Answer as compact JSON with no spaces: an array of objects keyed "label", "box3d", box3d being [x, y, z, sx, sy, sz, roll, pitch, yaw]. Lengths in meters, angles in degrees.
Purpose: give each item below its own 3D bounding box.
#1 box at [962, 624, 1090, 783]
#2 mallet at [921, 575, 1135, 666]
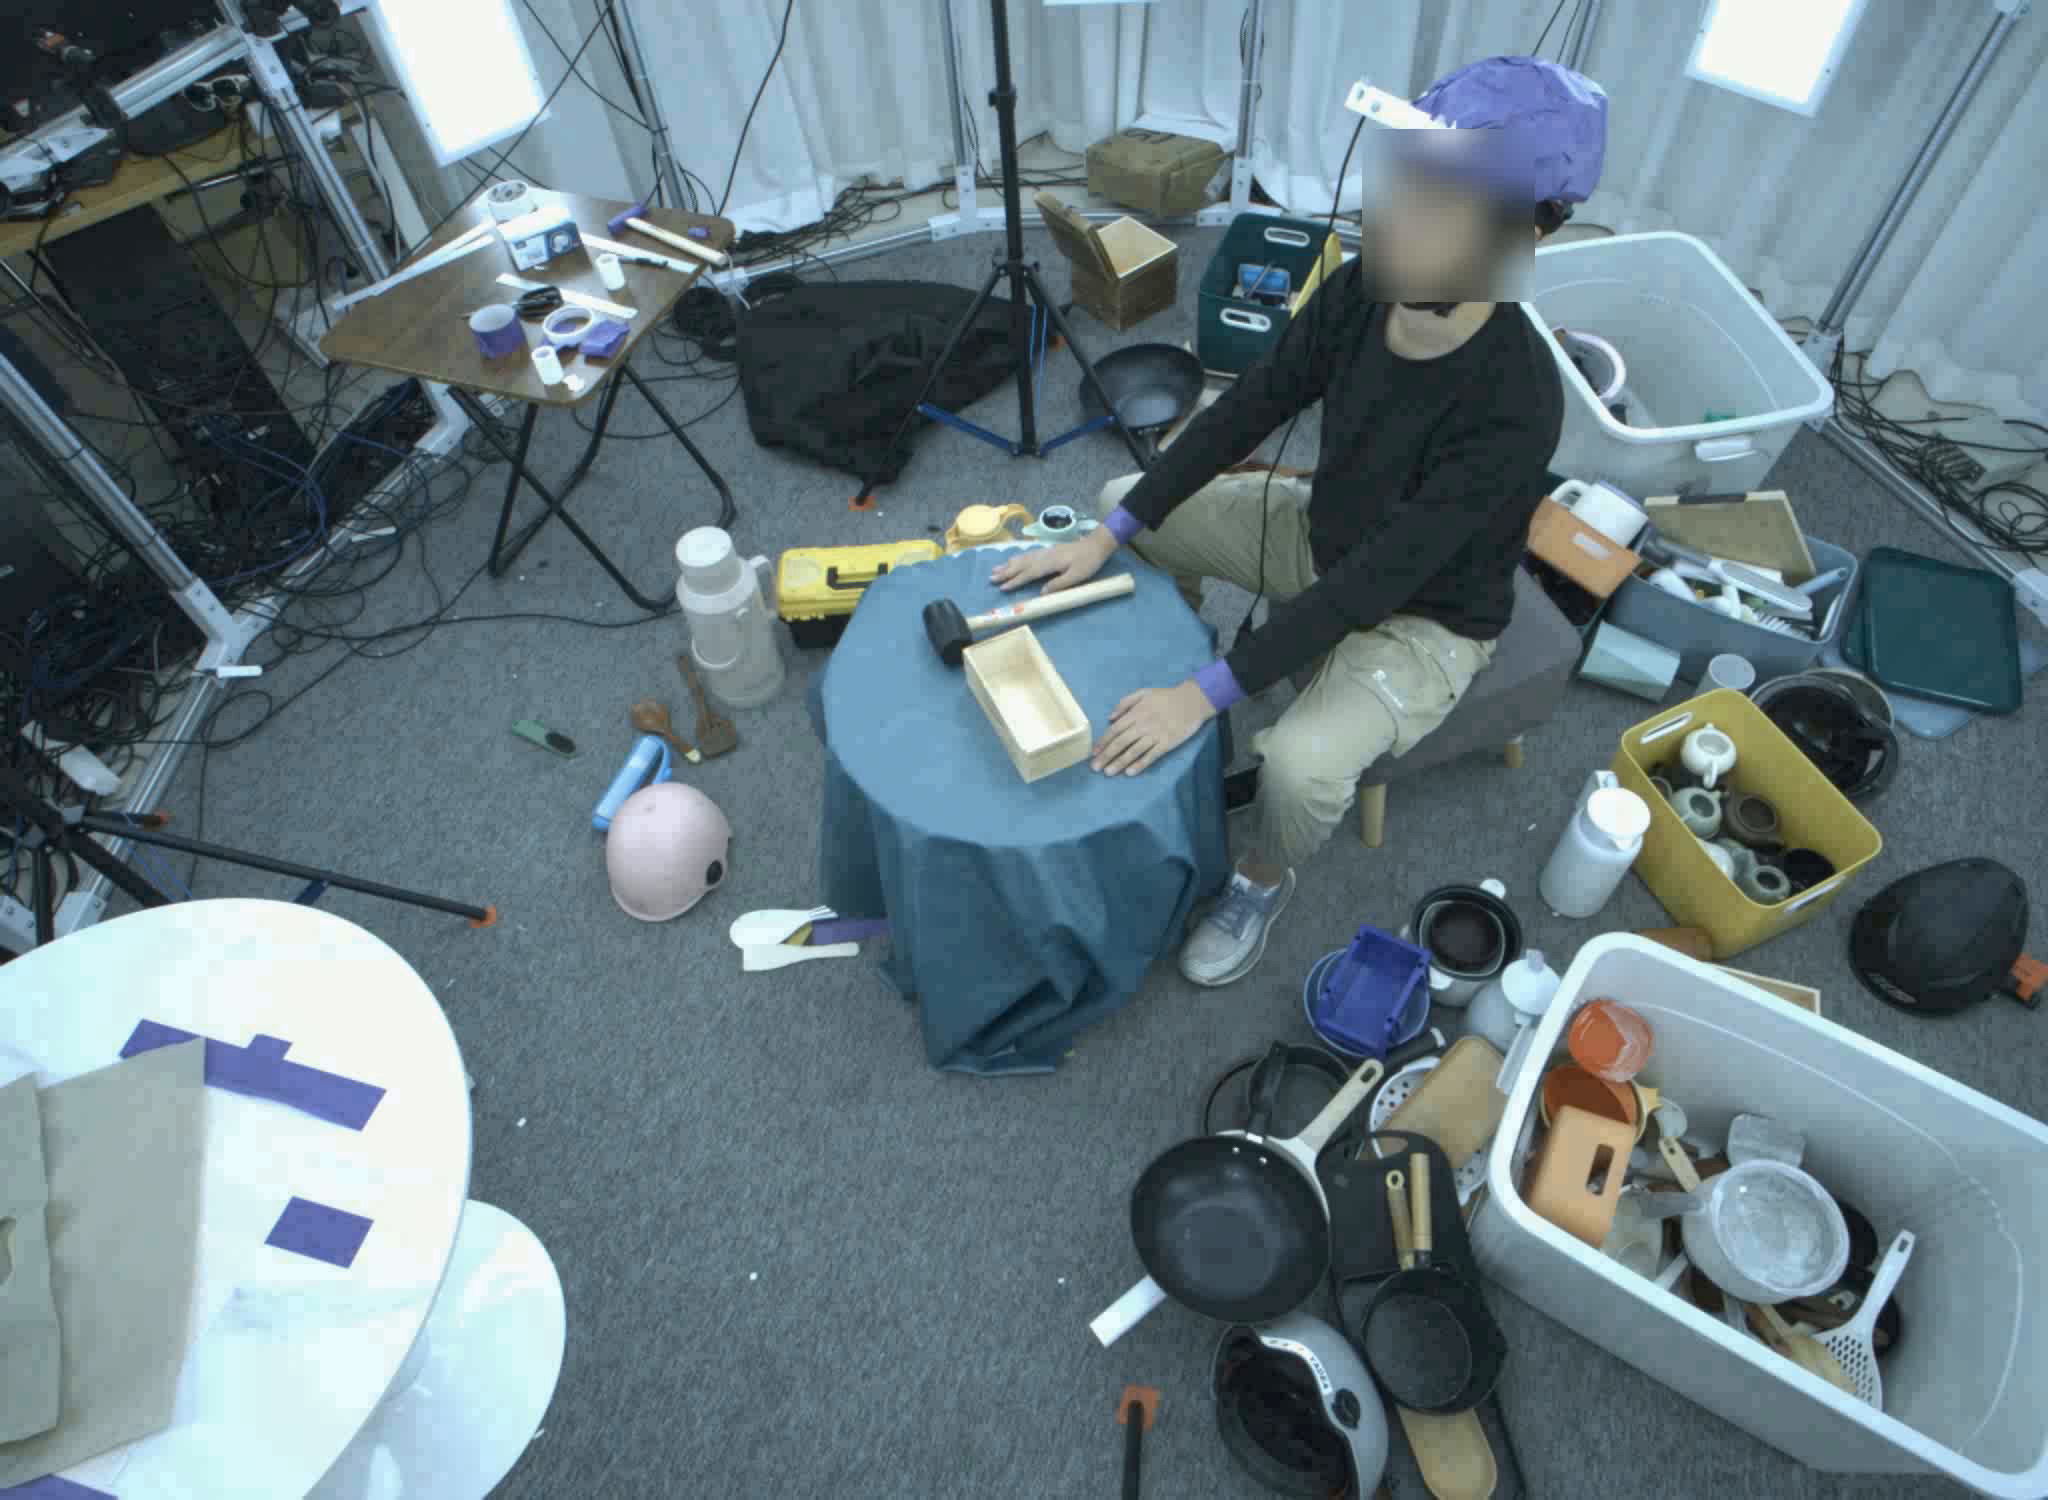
[{"label":"box","box3d":[0.002,-0.070,1.784,0.108,0.081,0.207,-22,57,-14]},{"label":"mallet","box3d":[0.010,-0.224,1.906,0.341,0.065,0.100,-17,57,-11]}]
